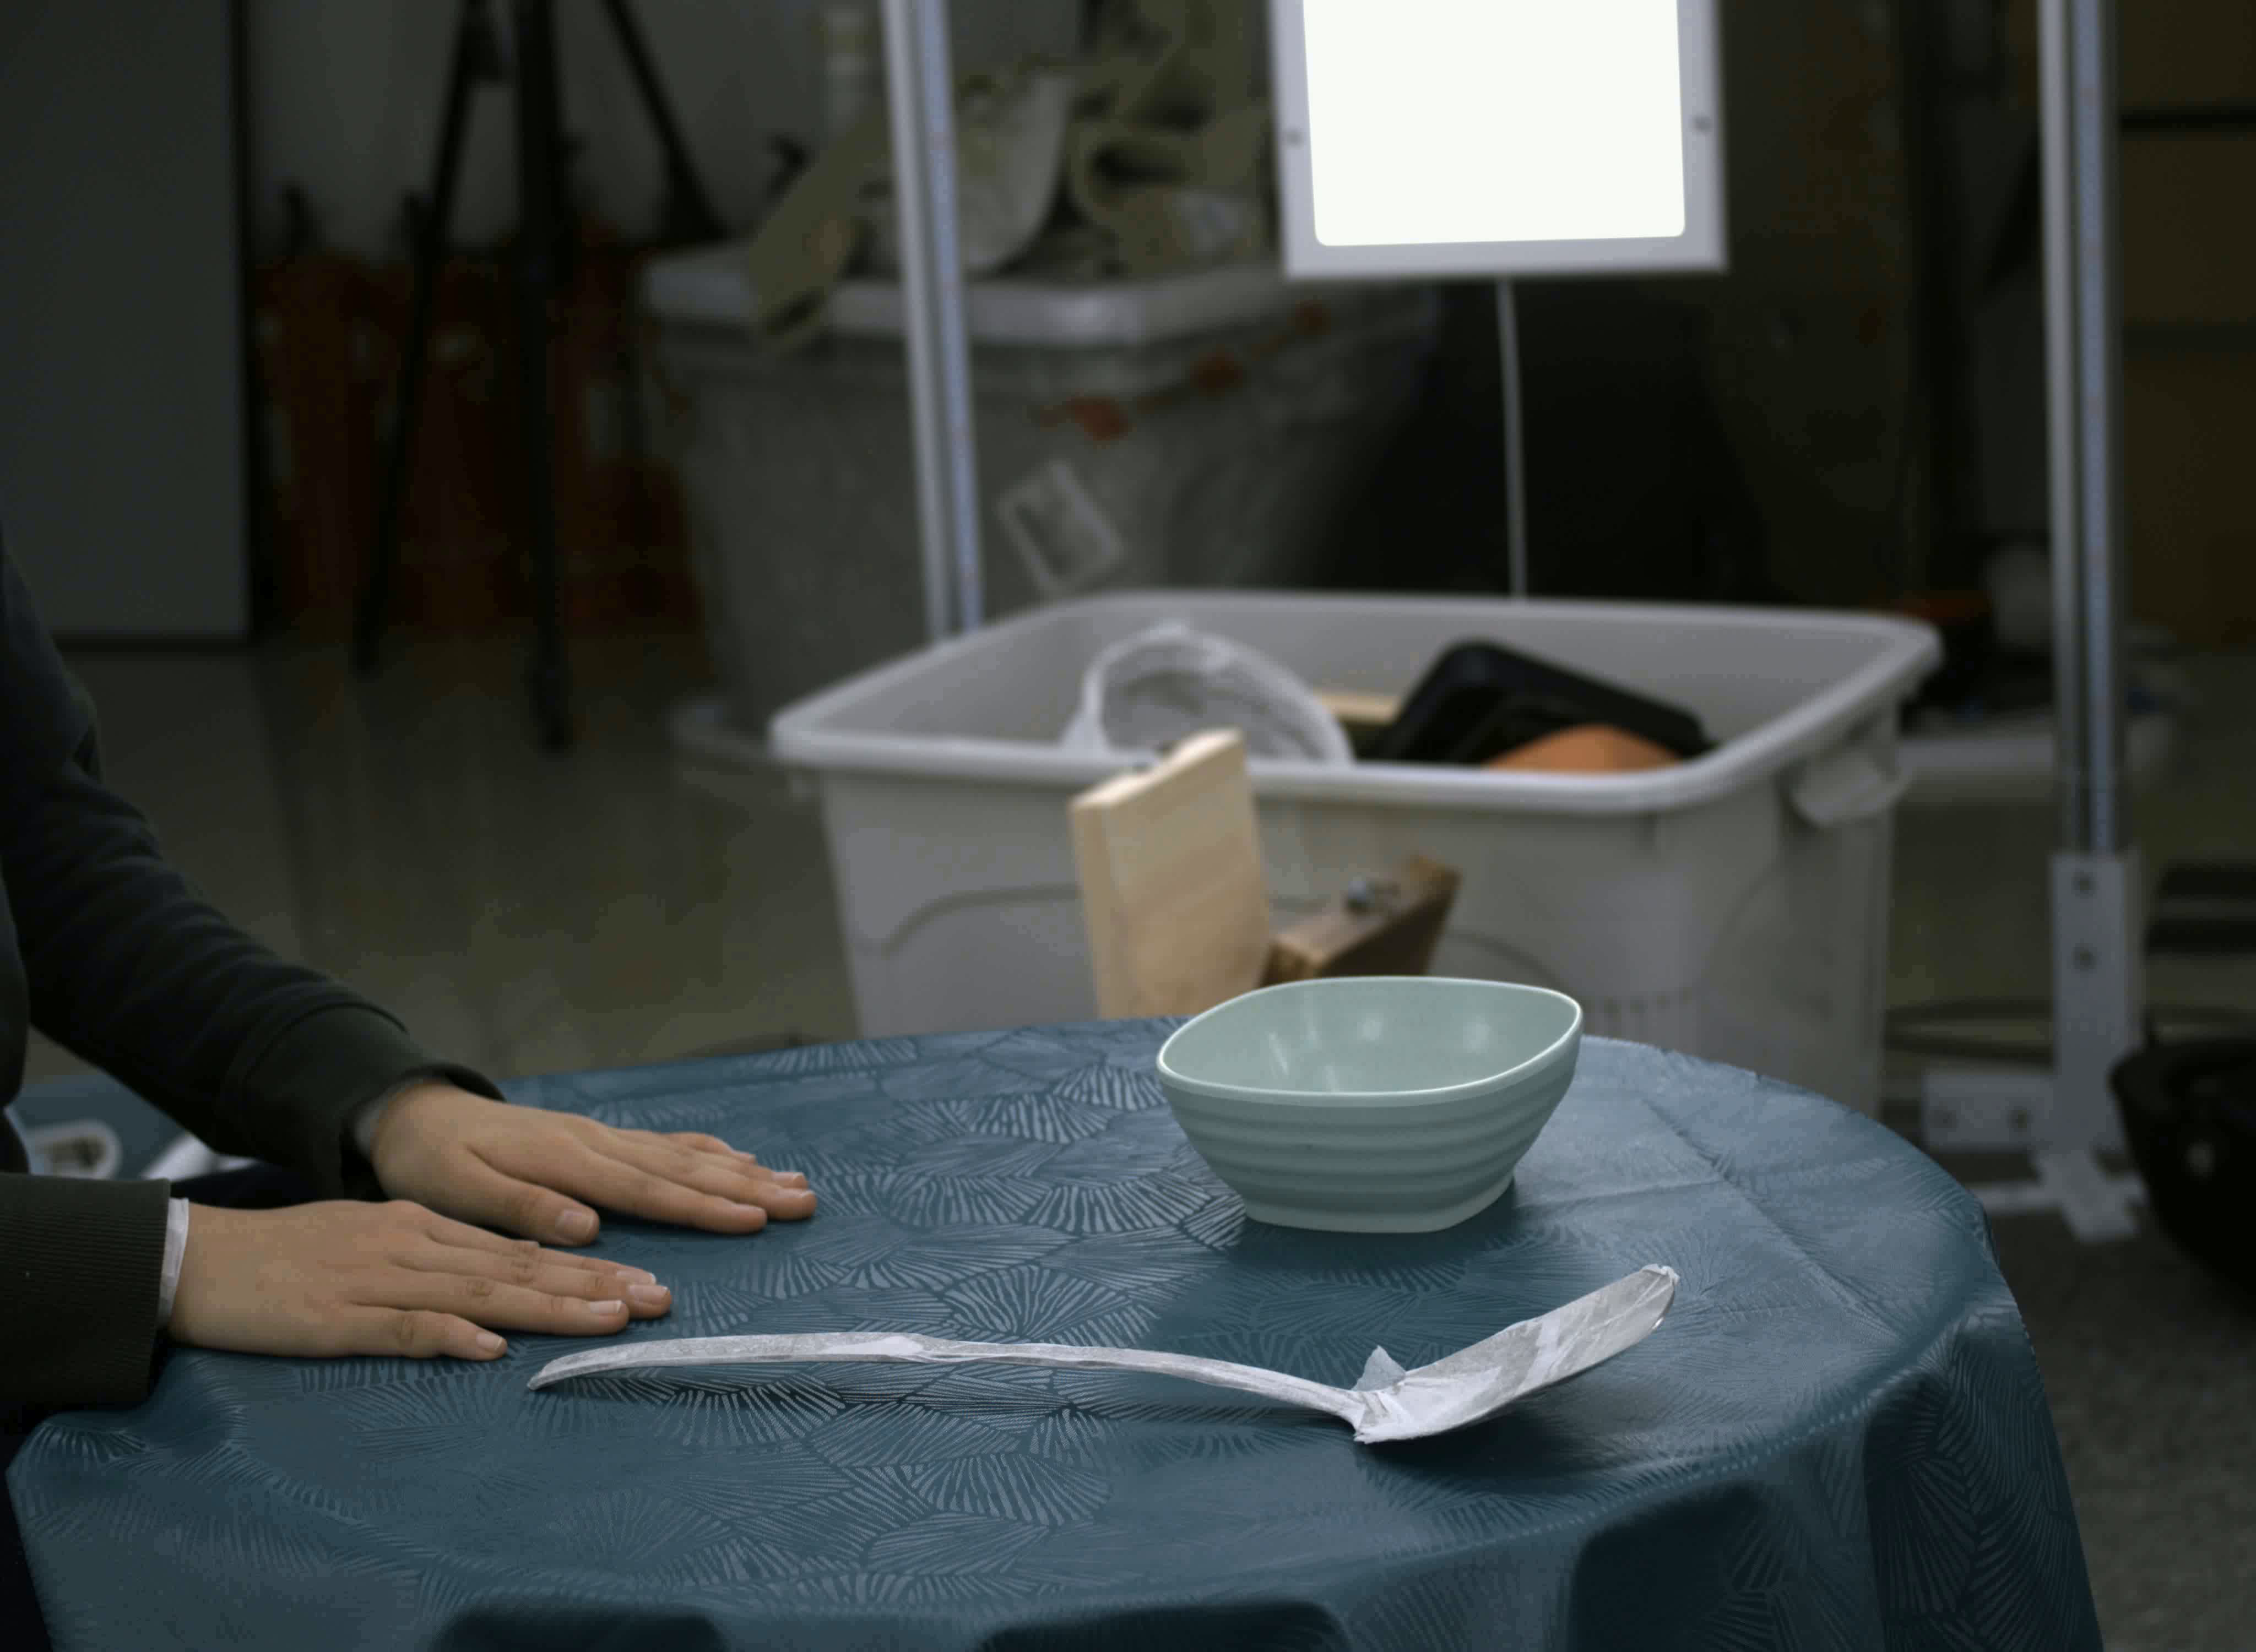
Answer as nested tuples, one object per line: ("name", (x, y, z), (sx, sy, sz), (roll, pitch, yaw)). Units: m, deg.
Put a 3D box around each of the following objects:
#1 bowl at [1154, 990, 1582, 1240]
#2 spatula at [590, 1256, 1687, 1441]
("bowl", (0.083, 0.100, 1.864), (0.151, 0.059, 0.151), (-4, 12, 0))
("spatula", (-0.008, 0.158, 1.689), (0.370, 0.045, 0.097), (1, 17, 22))
